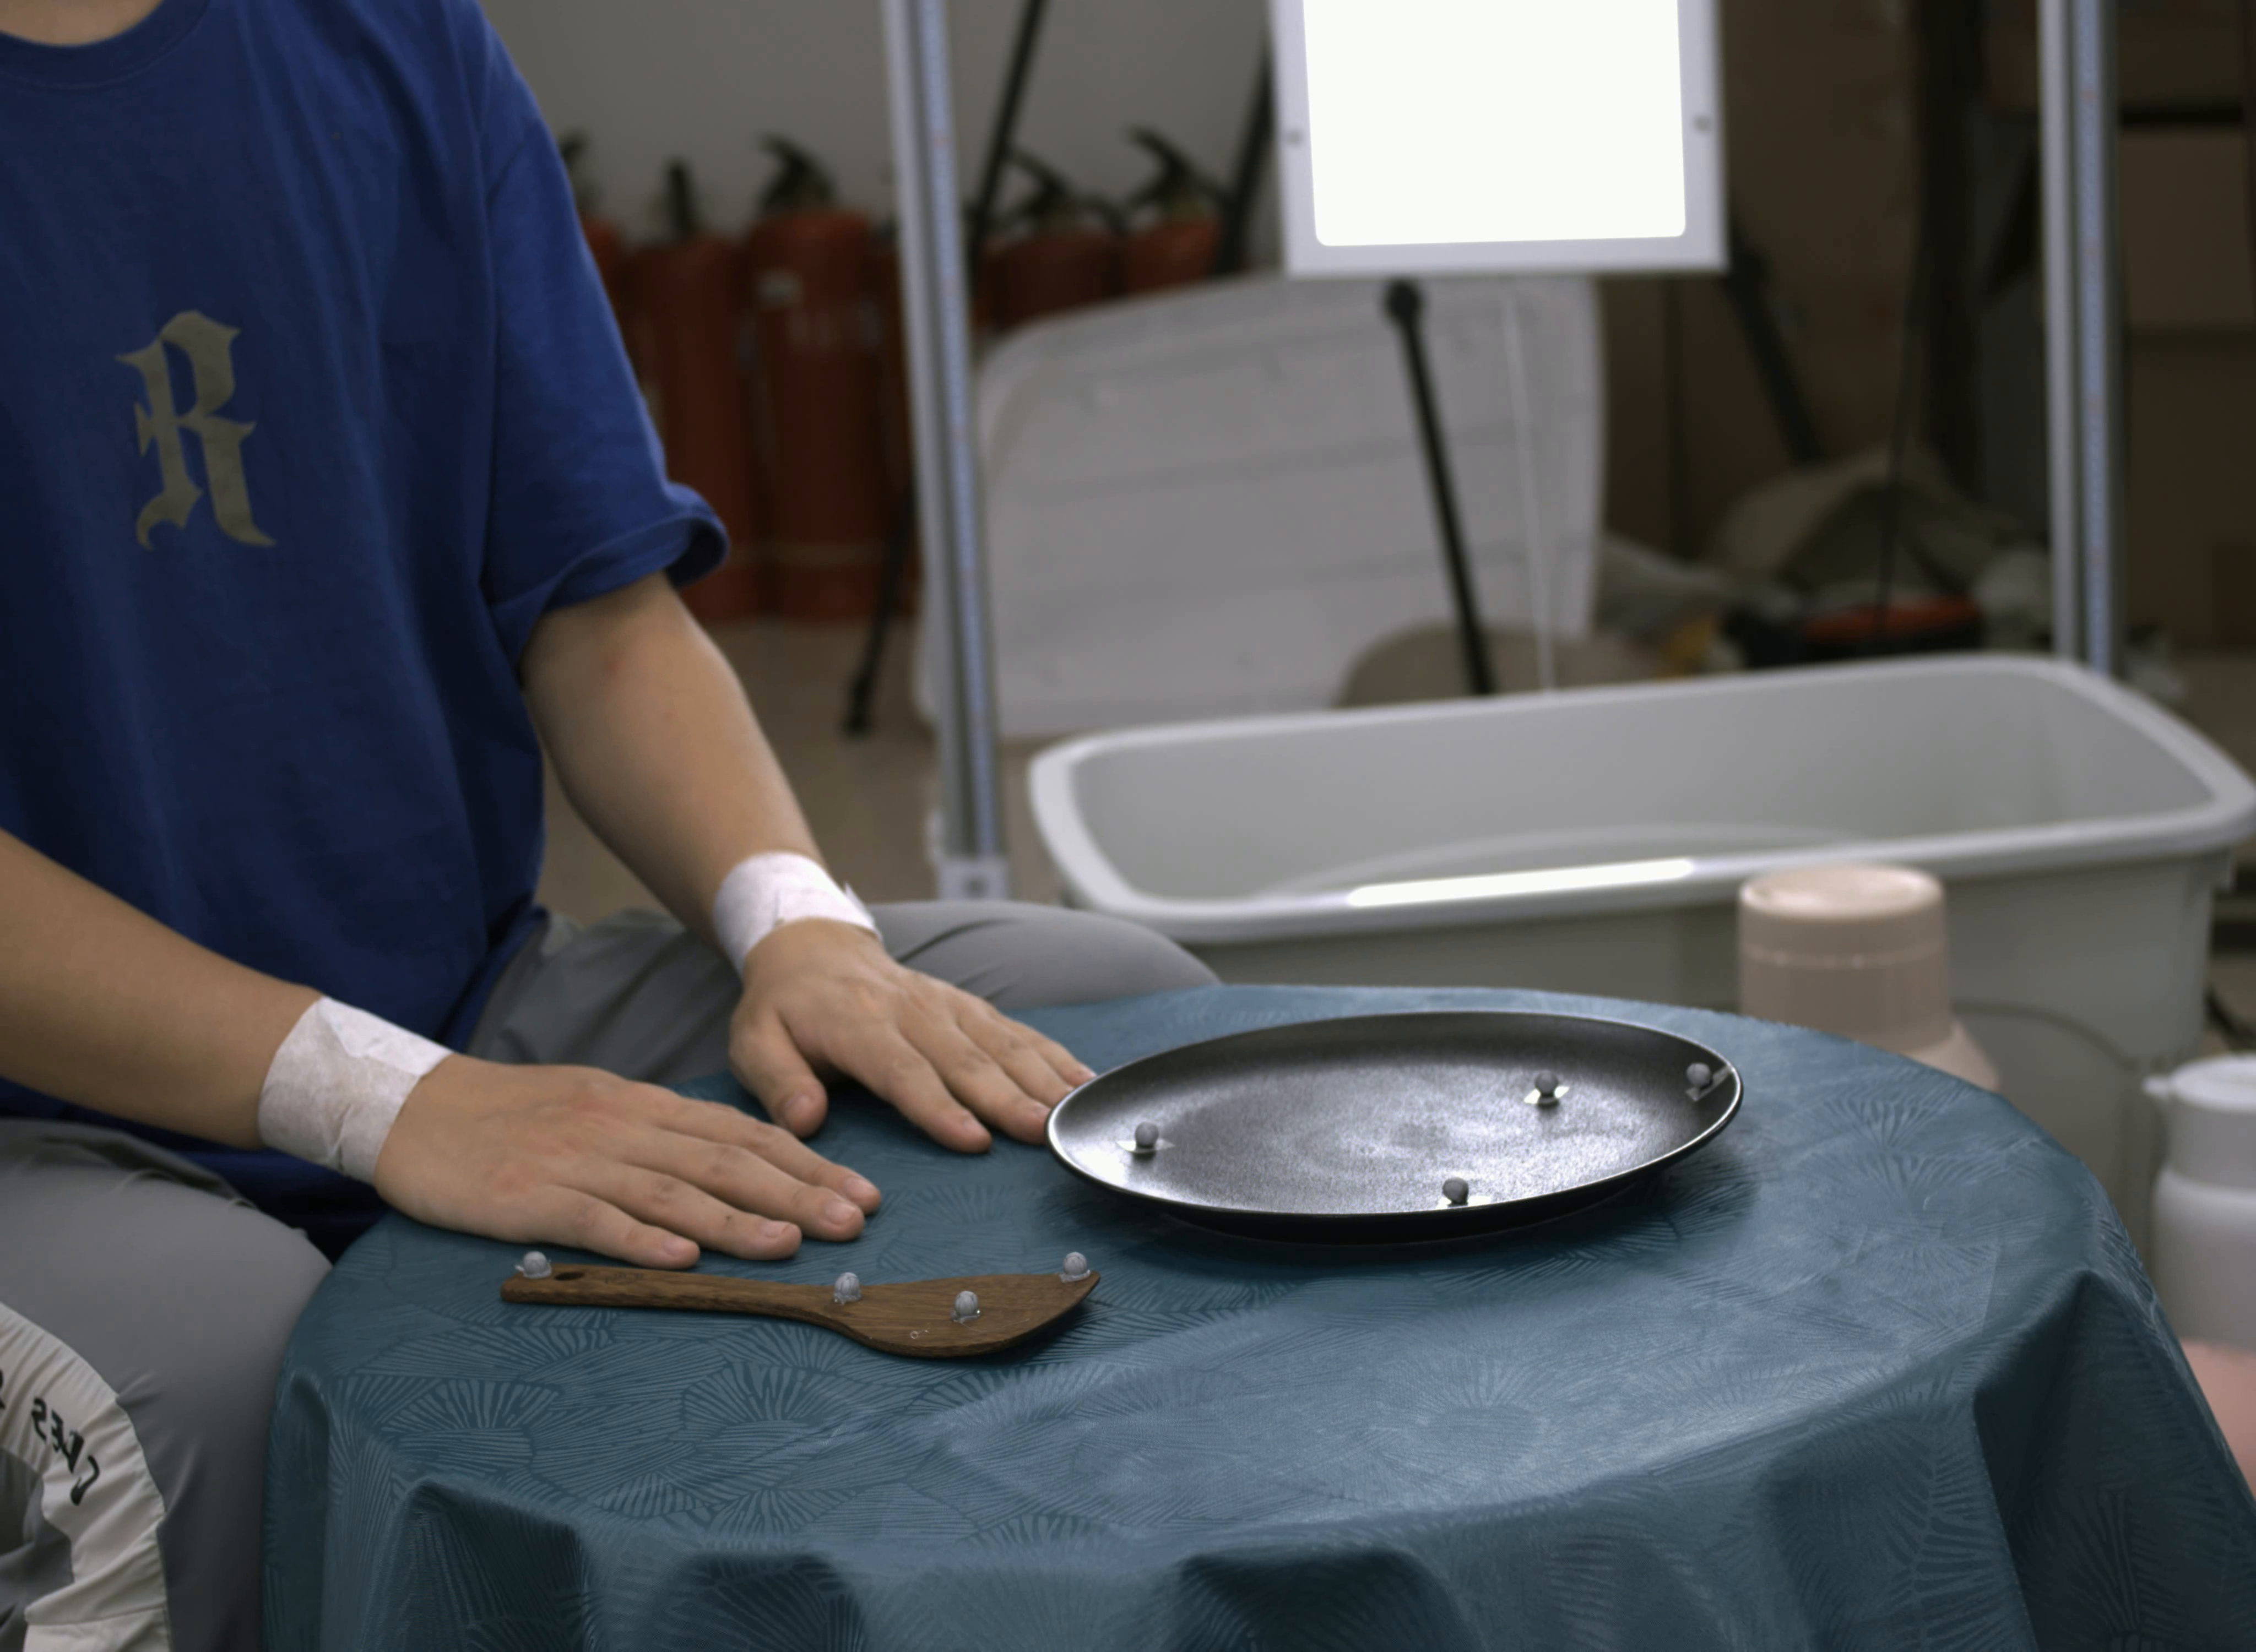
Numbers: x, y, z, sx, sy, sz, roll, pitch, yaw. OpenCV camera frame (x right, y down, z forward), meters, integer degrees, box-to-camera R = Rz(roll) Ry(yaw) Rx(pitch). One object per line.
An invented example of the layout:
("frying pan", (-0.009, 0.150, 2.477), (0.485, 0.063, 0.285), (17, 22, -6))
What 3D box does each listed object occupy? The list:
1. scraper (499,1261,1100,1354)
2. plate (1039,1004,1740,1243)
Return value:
("scraper", (-0.112, 0.154, 1.806), (0.215, 0.011, 0.074), (1, 15, 28))
("plate", (0.091, 0.105, 1.900), (0.244, 0.023, 0.244), (-5, 14, 0))
